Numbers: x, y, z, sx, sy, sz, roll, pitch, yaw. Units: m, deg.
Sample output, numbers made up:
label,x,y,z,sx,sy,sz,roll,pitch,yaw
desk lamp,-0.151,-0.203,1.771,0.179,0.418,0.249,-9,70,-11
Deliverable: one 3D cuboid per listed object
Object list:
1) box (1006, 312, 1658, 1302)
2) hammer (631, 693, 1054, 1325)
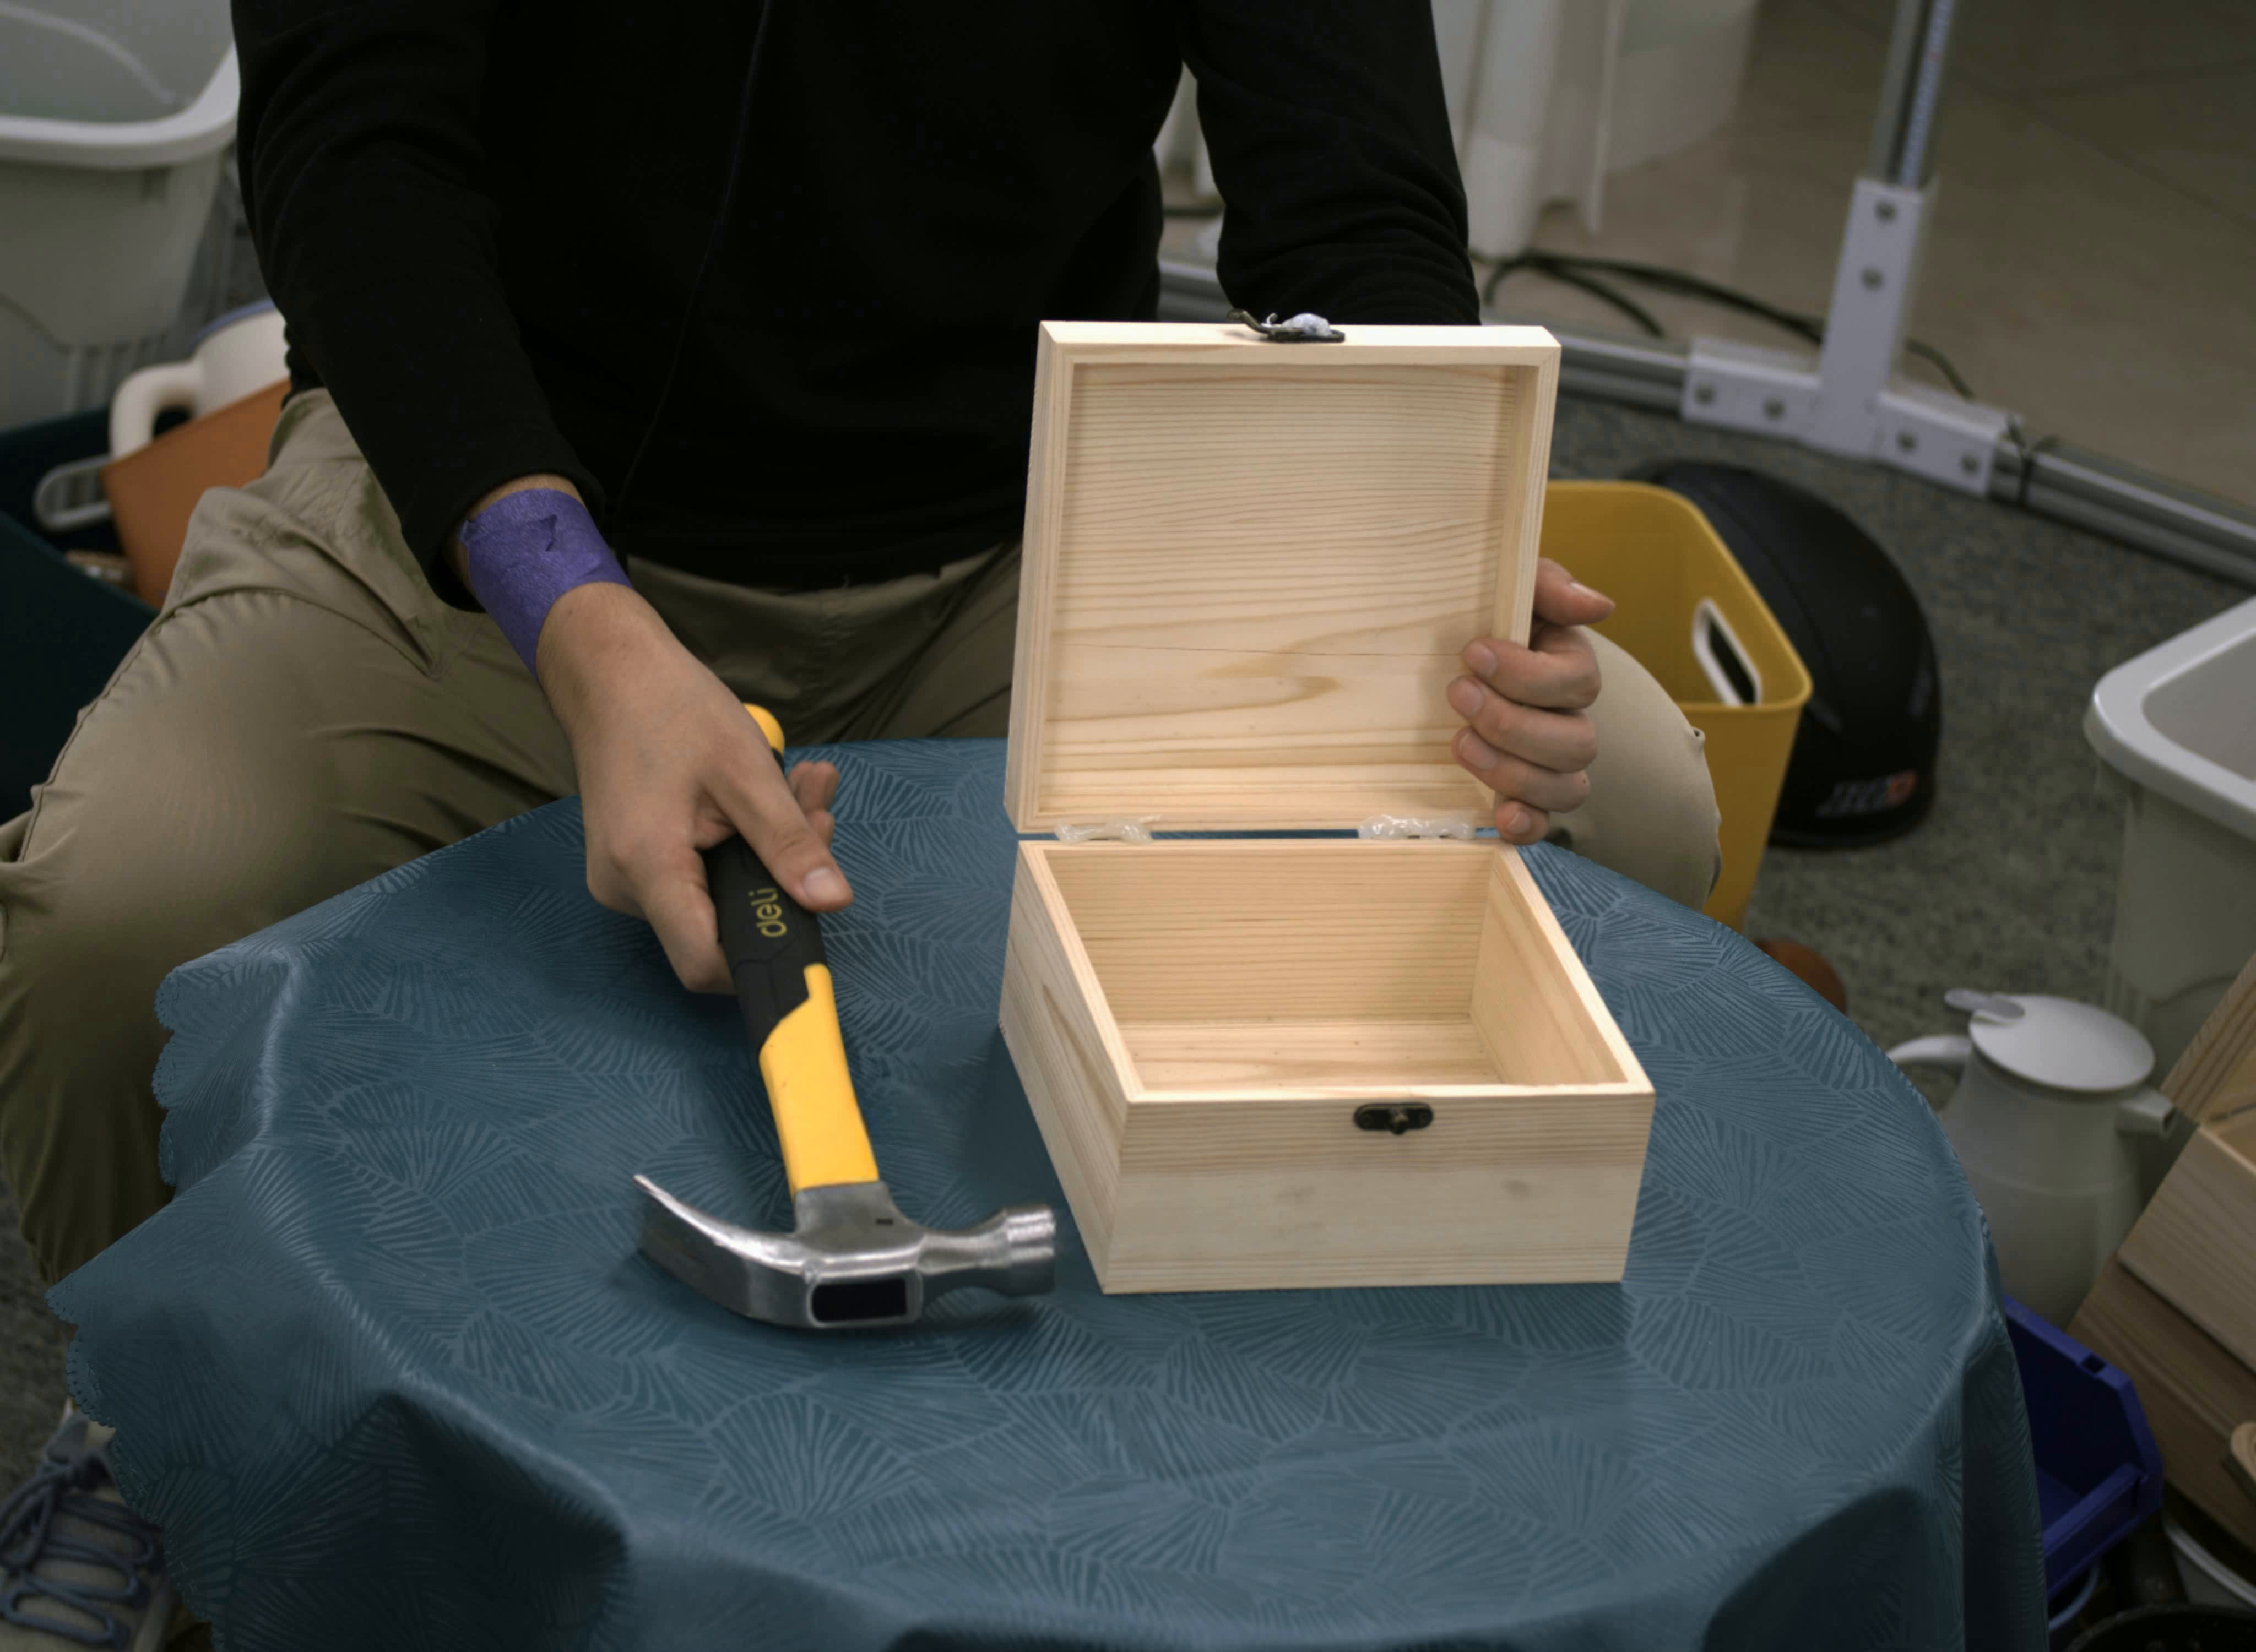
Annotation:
label,x,y,z,sx,sy,sz,roll,pitch,yaw
box,0.065,-0.014,1.816,0.181,0.252,0.267,-2,28,-13
hammer,-0.118,0.054,1.831,0.131,0.032,0.341,-7,35,-8
